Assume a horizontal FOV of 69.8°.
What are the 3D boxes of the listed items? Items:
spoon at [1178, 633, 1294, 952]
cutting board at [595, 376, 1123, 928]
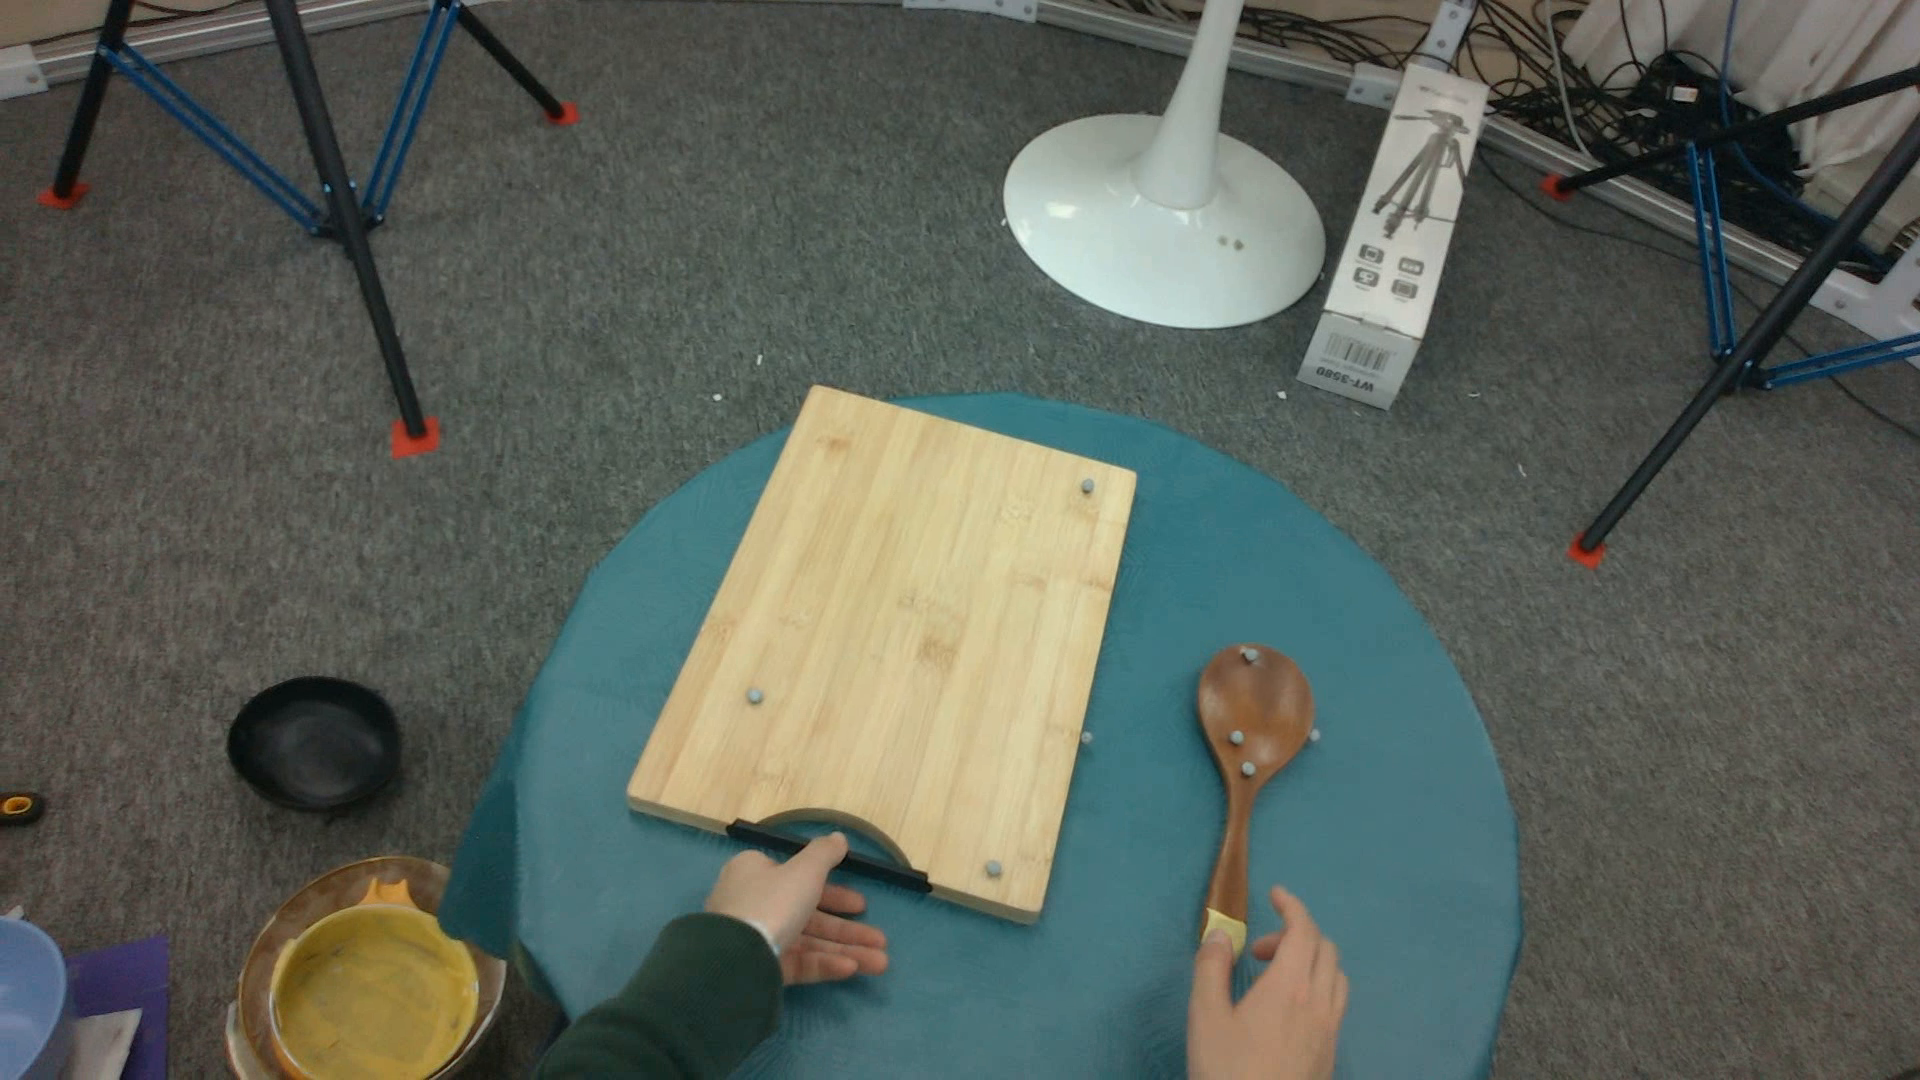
[{"bbox_3d":[0.158,0.145,0.826,0.075,0.017,0.217,17,50,1],"label":"spoon"},{"bbox_3d":[-0.044,0.050,0.865,0.251,0.023,0.350,15,51,2],"label":"cutting board"}]
